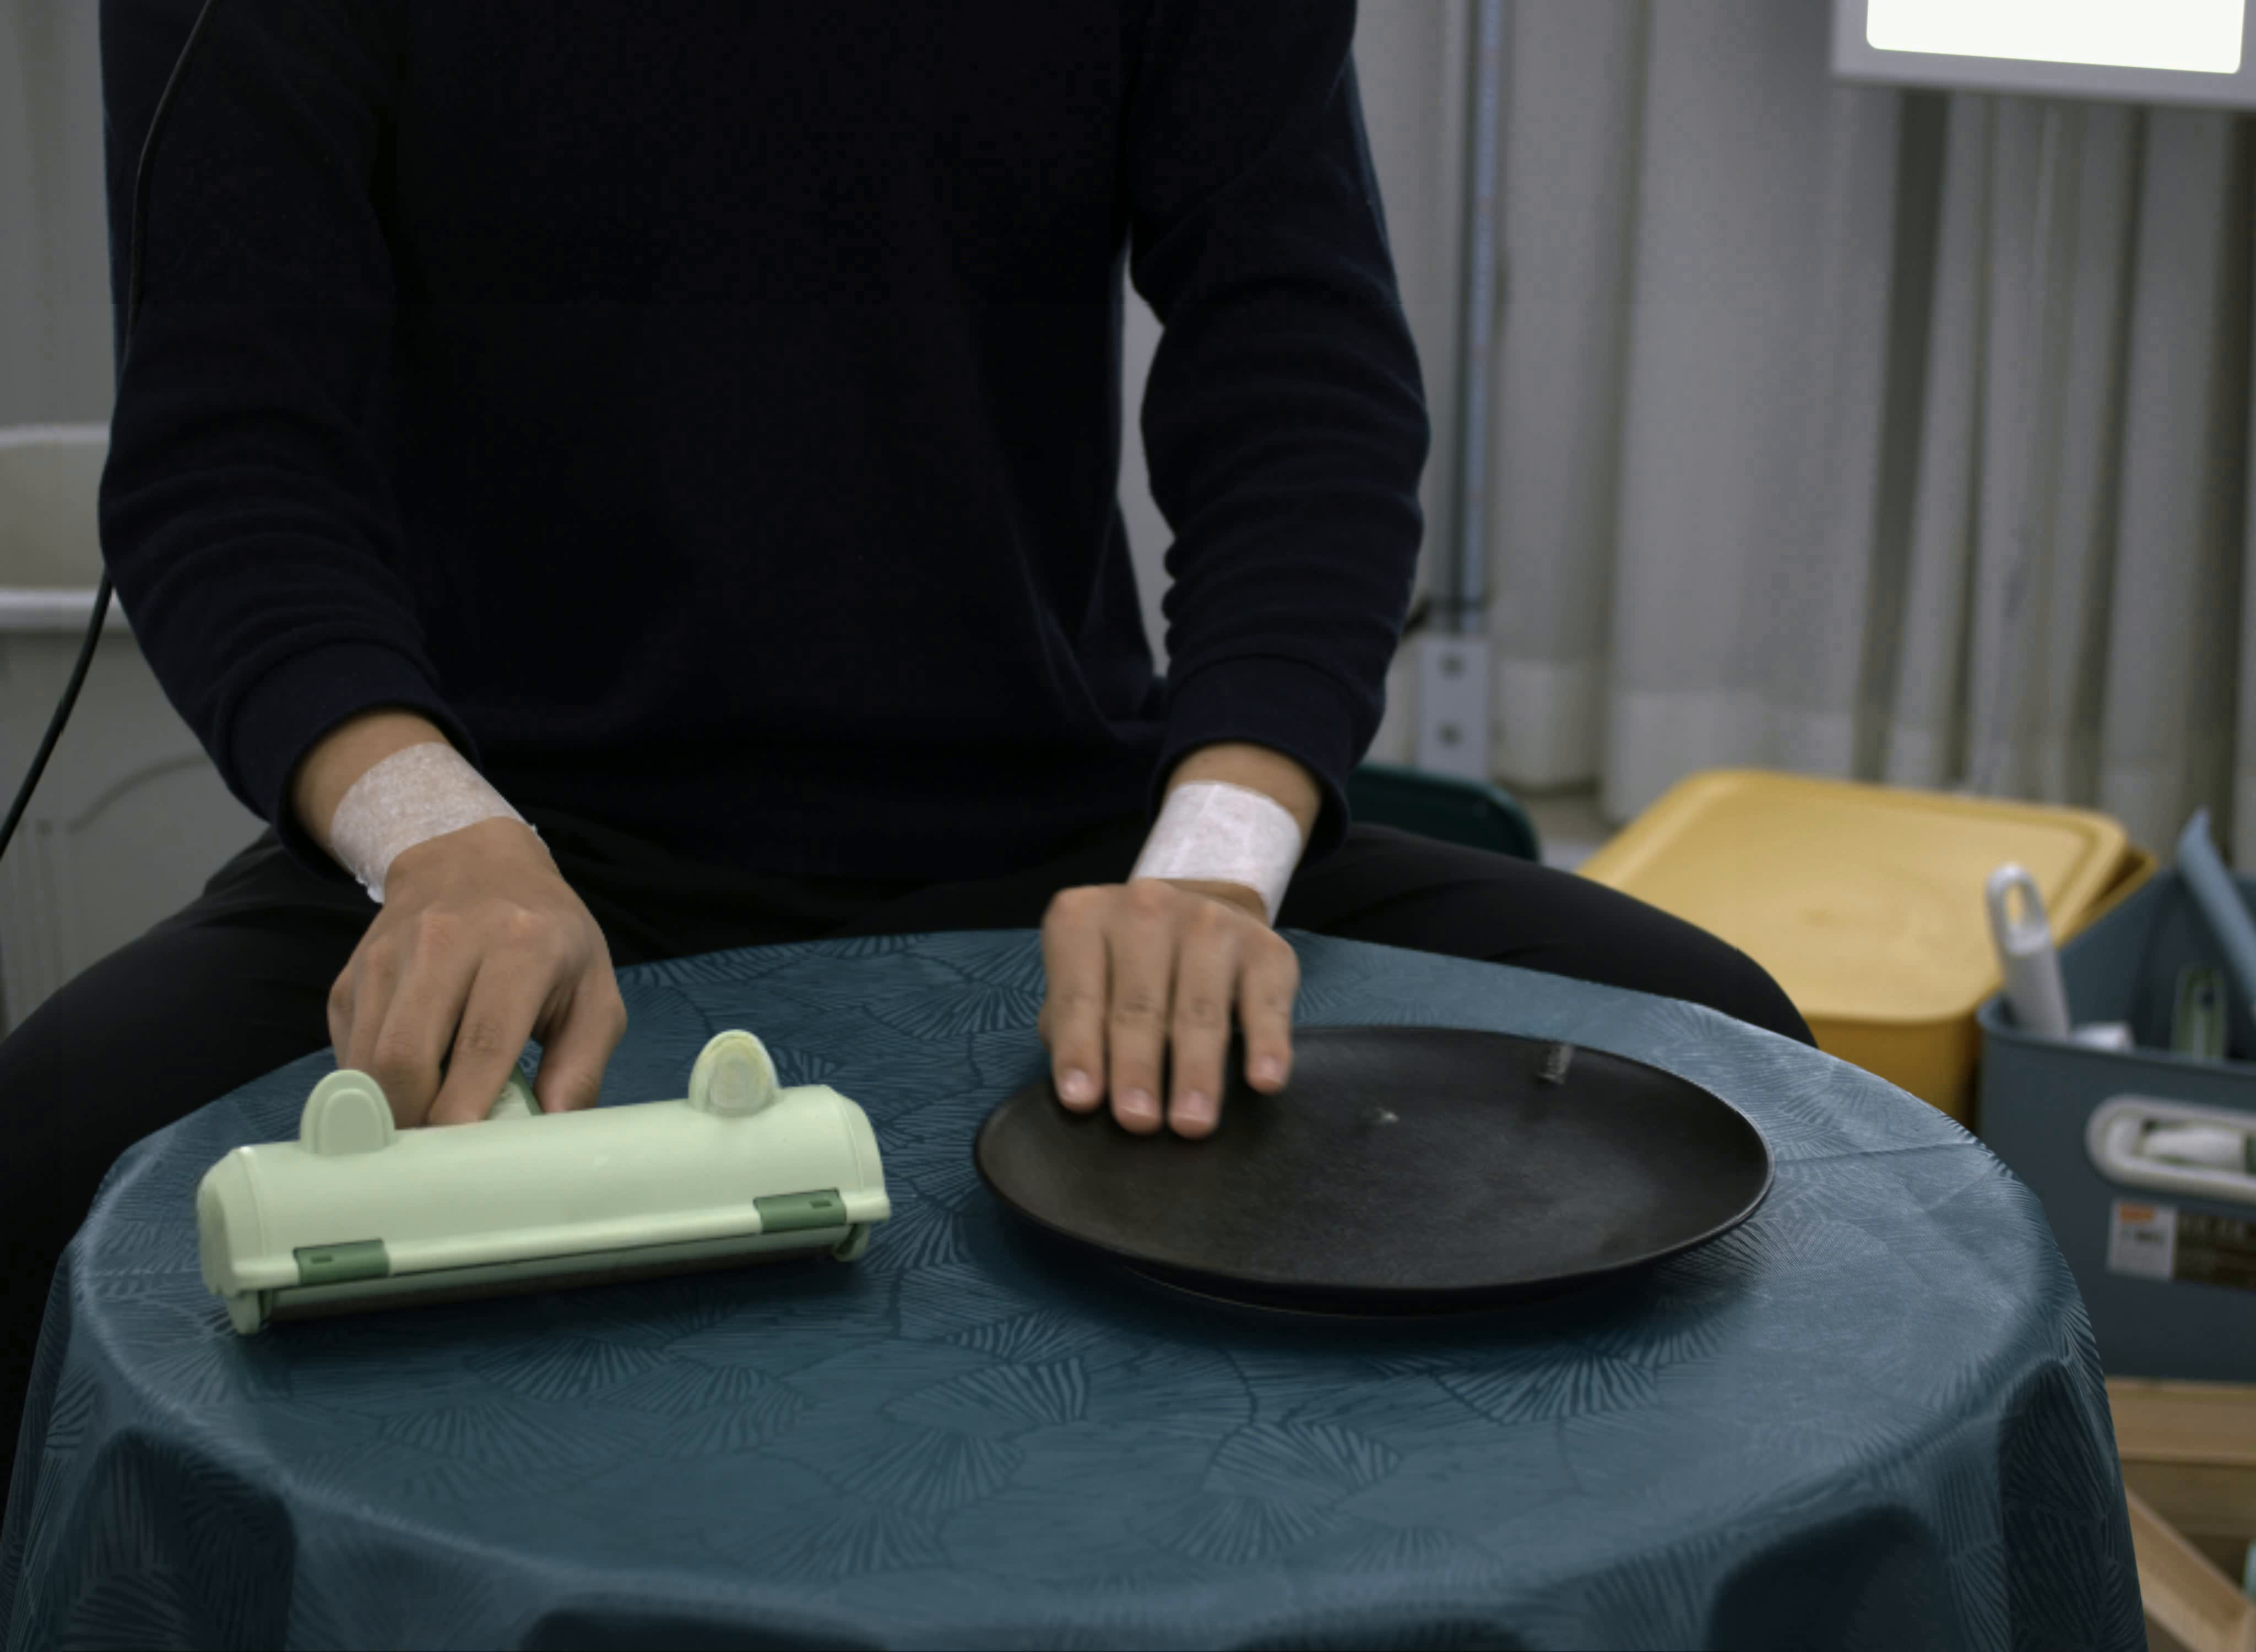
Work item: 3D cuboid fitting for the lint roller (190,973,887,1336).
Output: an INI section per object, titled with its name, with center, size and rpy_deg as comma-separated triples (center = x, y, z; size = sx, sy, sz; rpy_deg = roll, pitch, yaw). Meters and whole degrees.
[lint roller]
center = -0.189, 0.074, 1.562
size = 0.199, 0.083, 0.181
rpy_deg = -5, 35, -22

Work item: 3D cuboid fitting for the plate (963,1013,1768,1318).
[plate]
center = 0.072, 0.106, 1.599
size = 0.243, 0.023, 0.243
rpy_deg = 1, 17, 0
